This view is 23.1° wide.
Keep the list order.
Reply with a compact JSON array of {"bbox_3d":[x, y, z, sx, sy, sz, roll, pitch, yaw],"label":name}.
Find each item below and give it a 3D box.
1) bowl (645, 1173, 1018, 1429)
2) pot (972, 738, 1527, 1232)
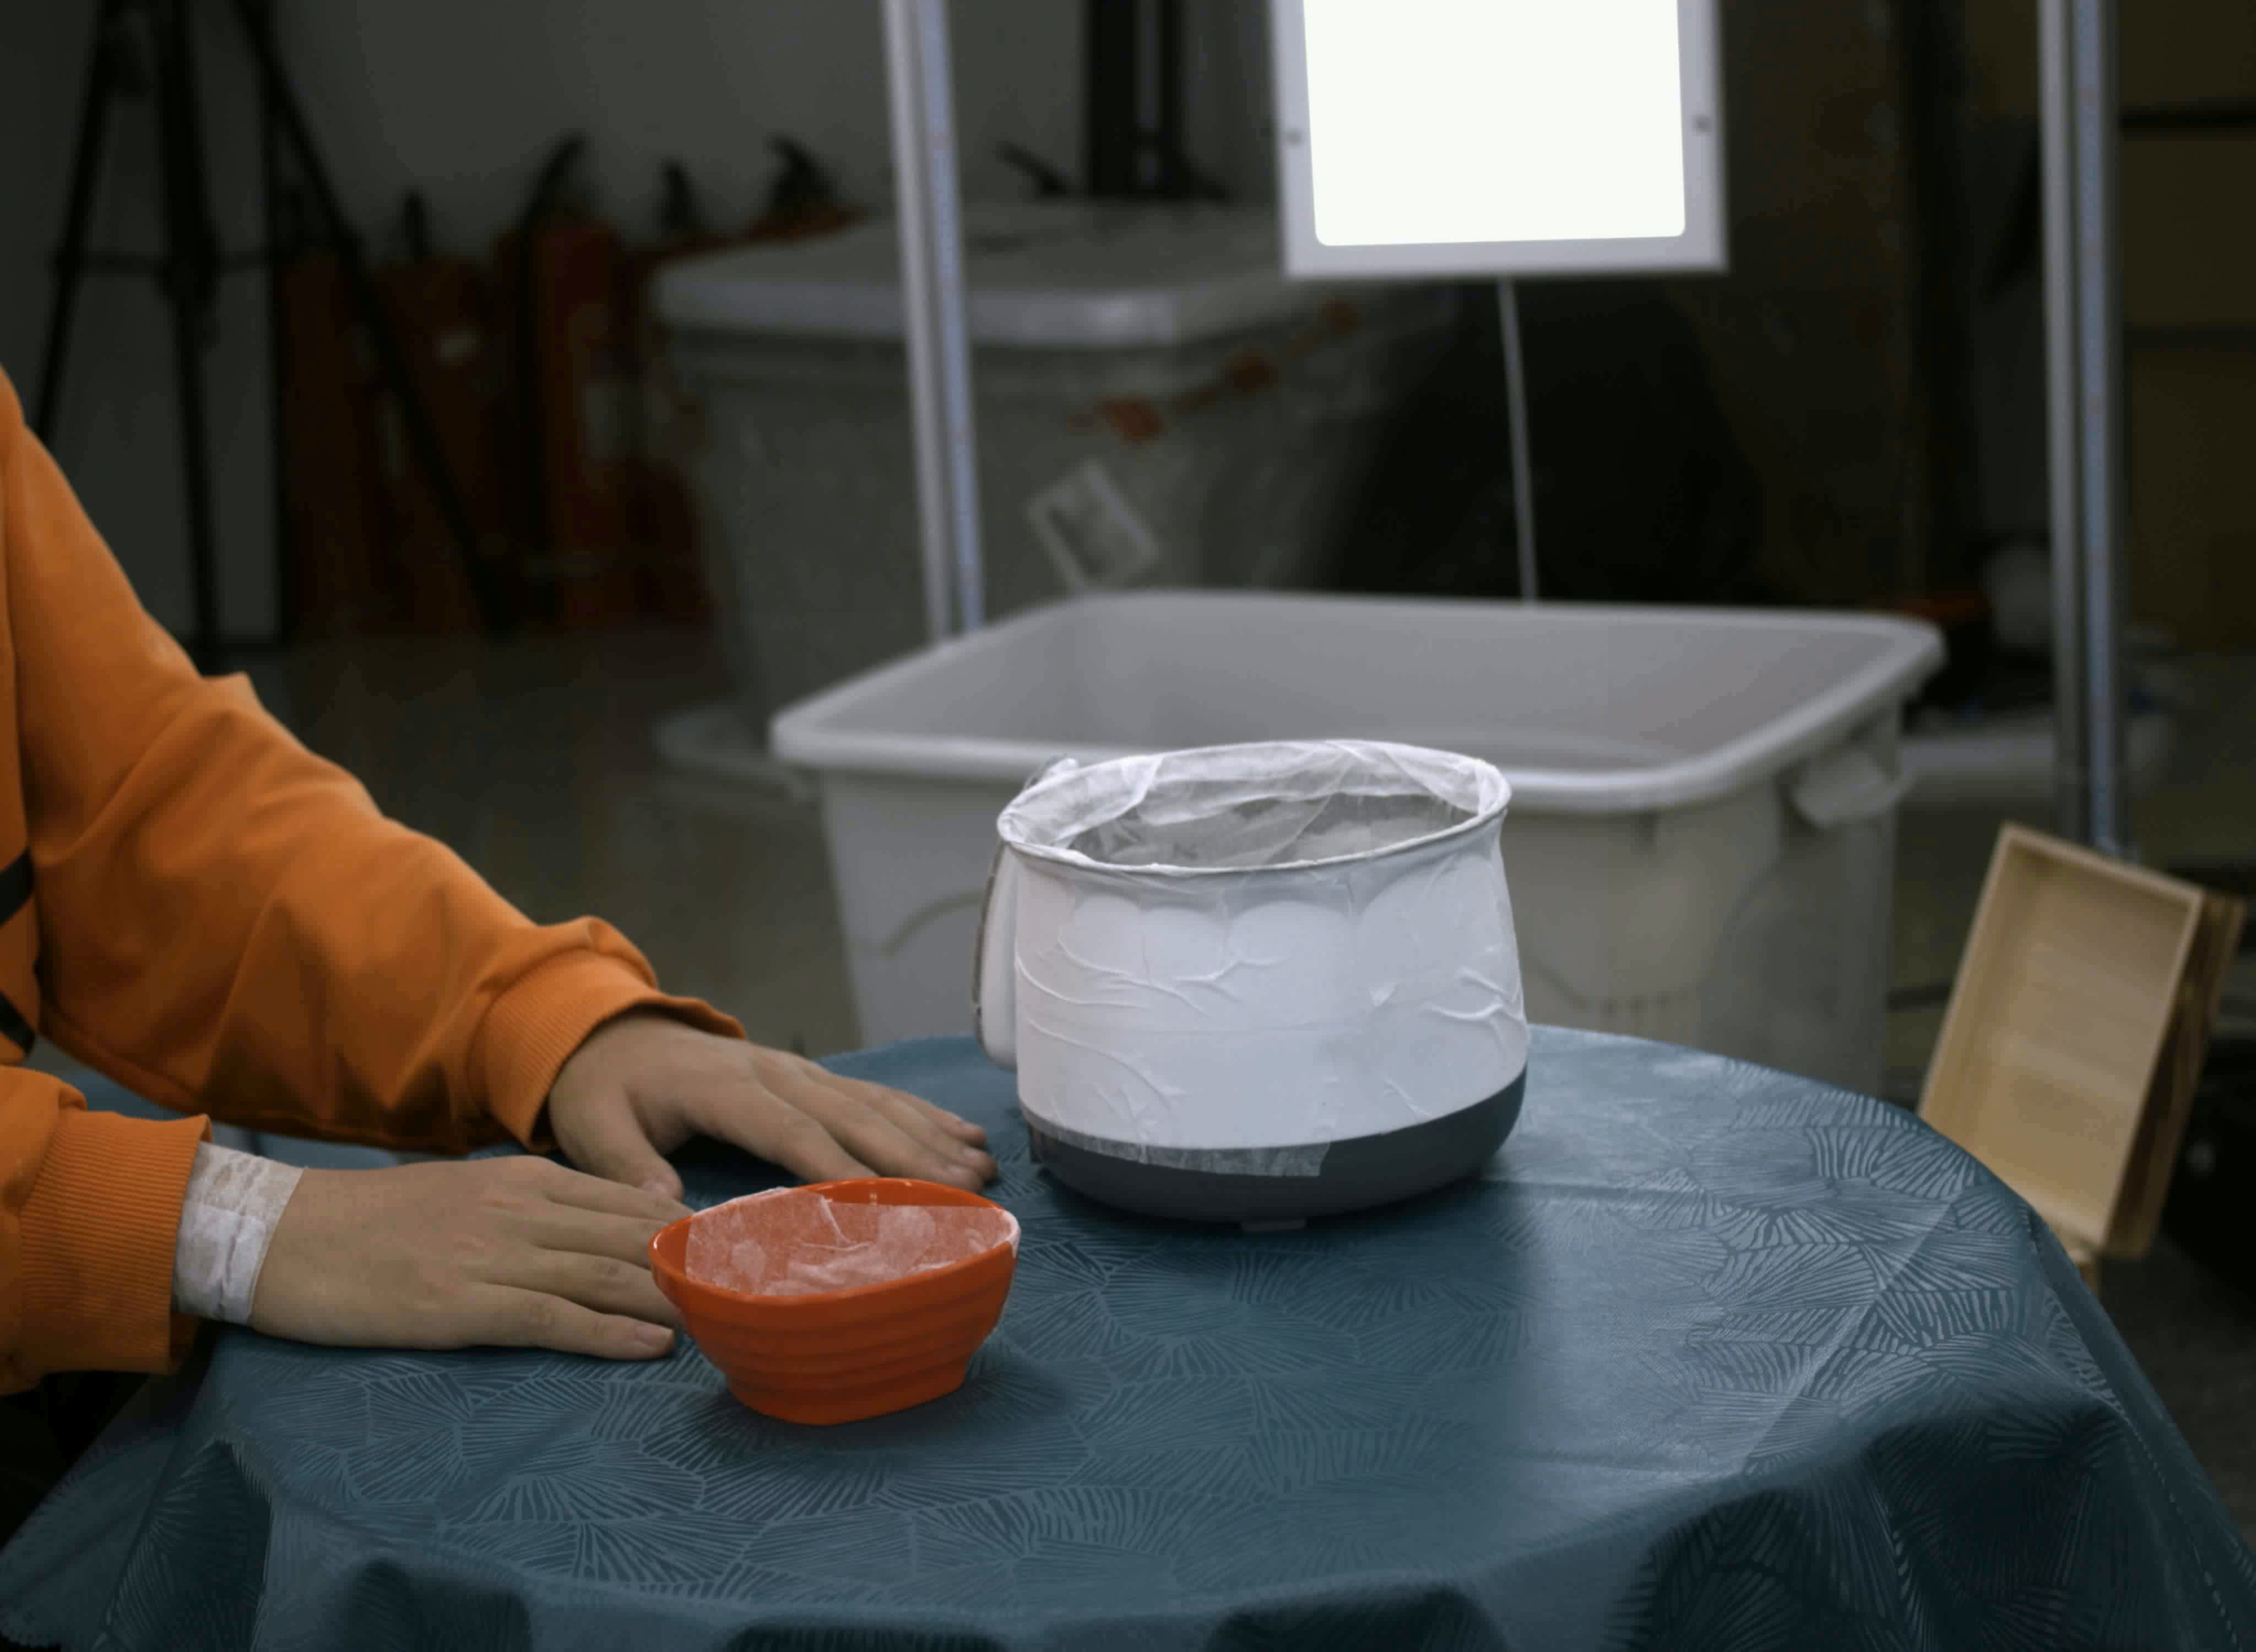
[{"bbox_3d":[-0.091,0.151,1.725,0.118,0.051,0.119,-5,15,0],"label":"bowl"},{"bbox_3d":[0.029,0.049,1.912,0.174,0.137,0.239,-16,18,-40],"label":"pot"}]
